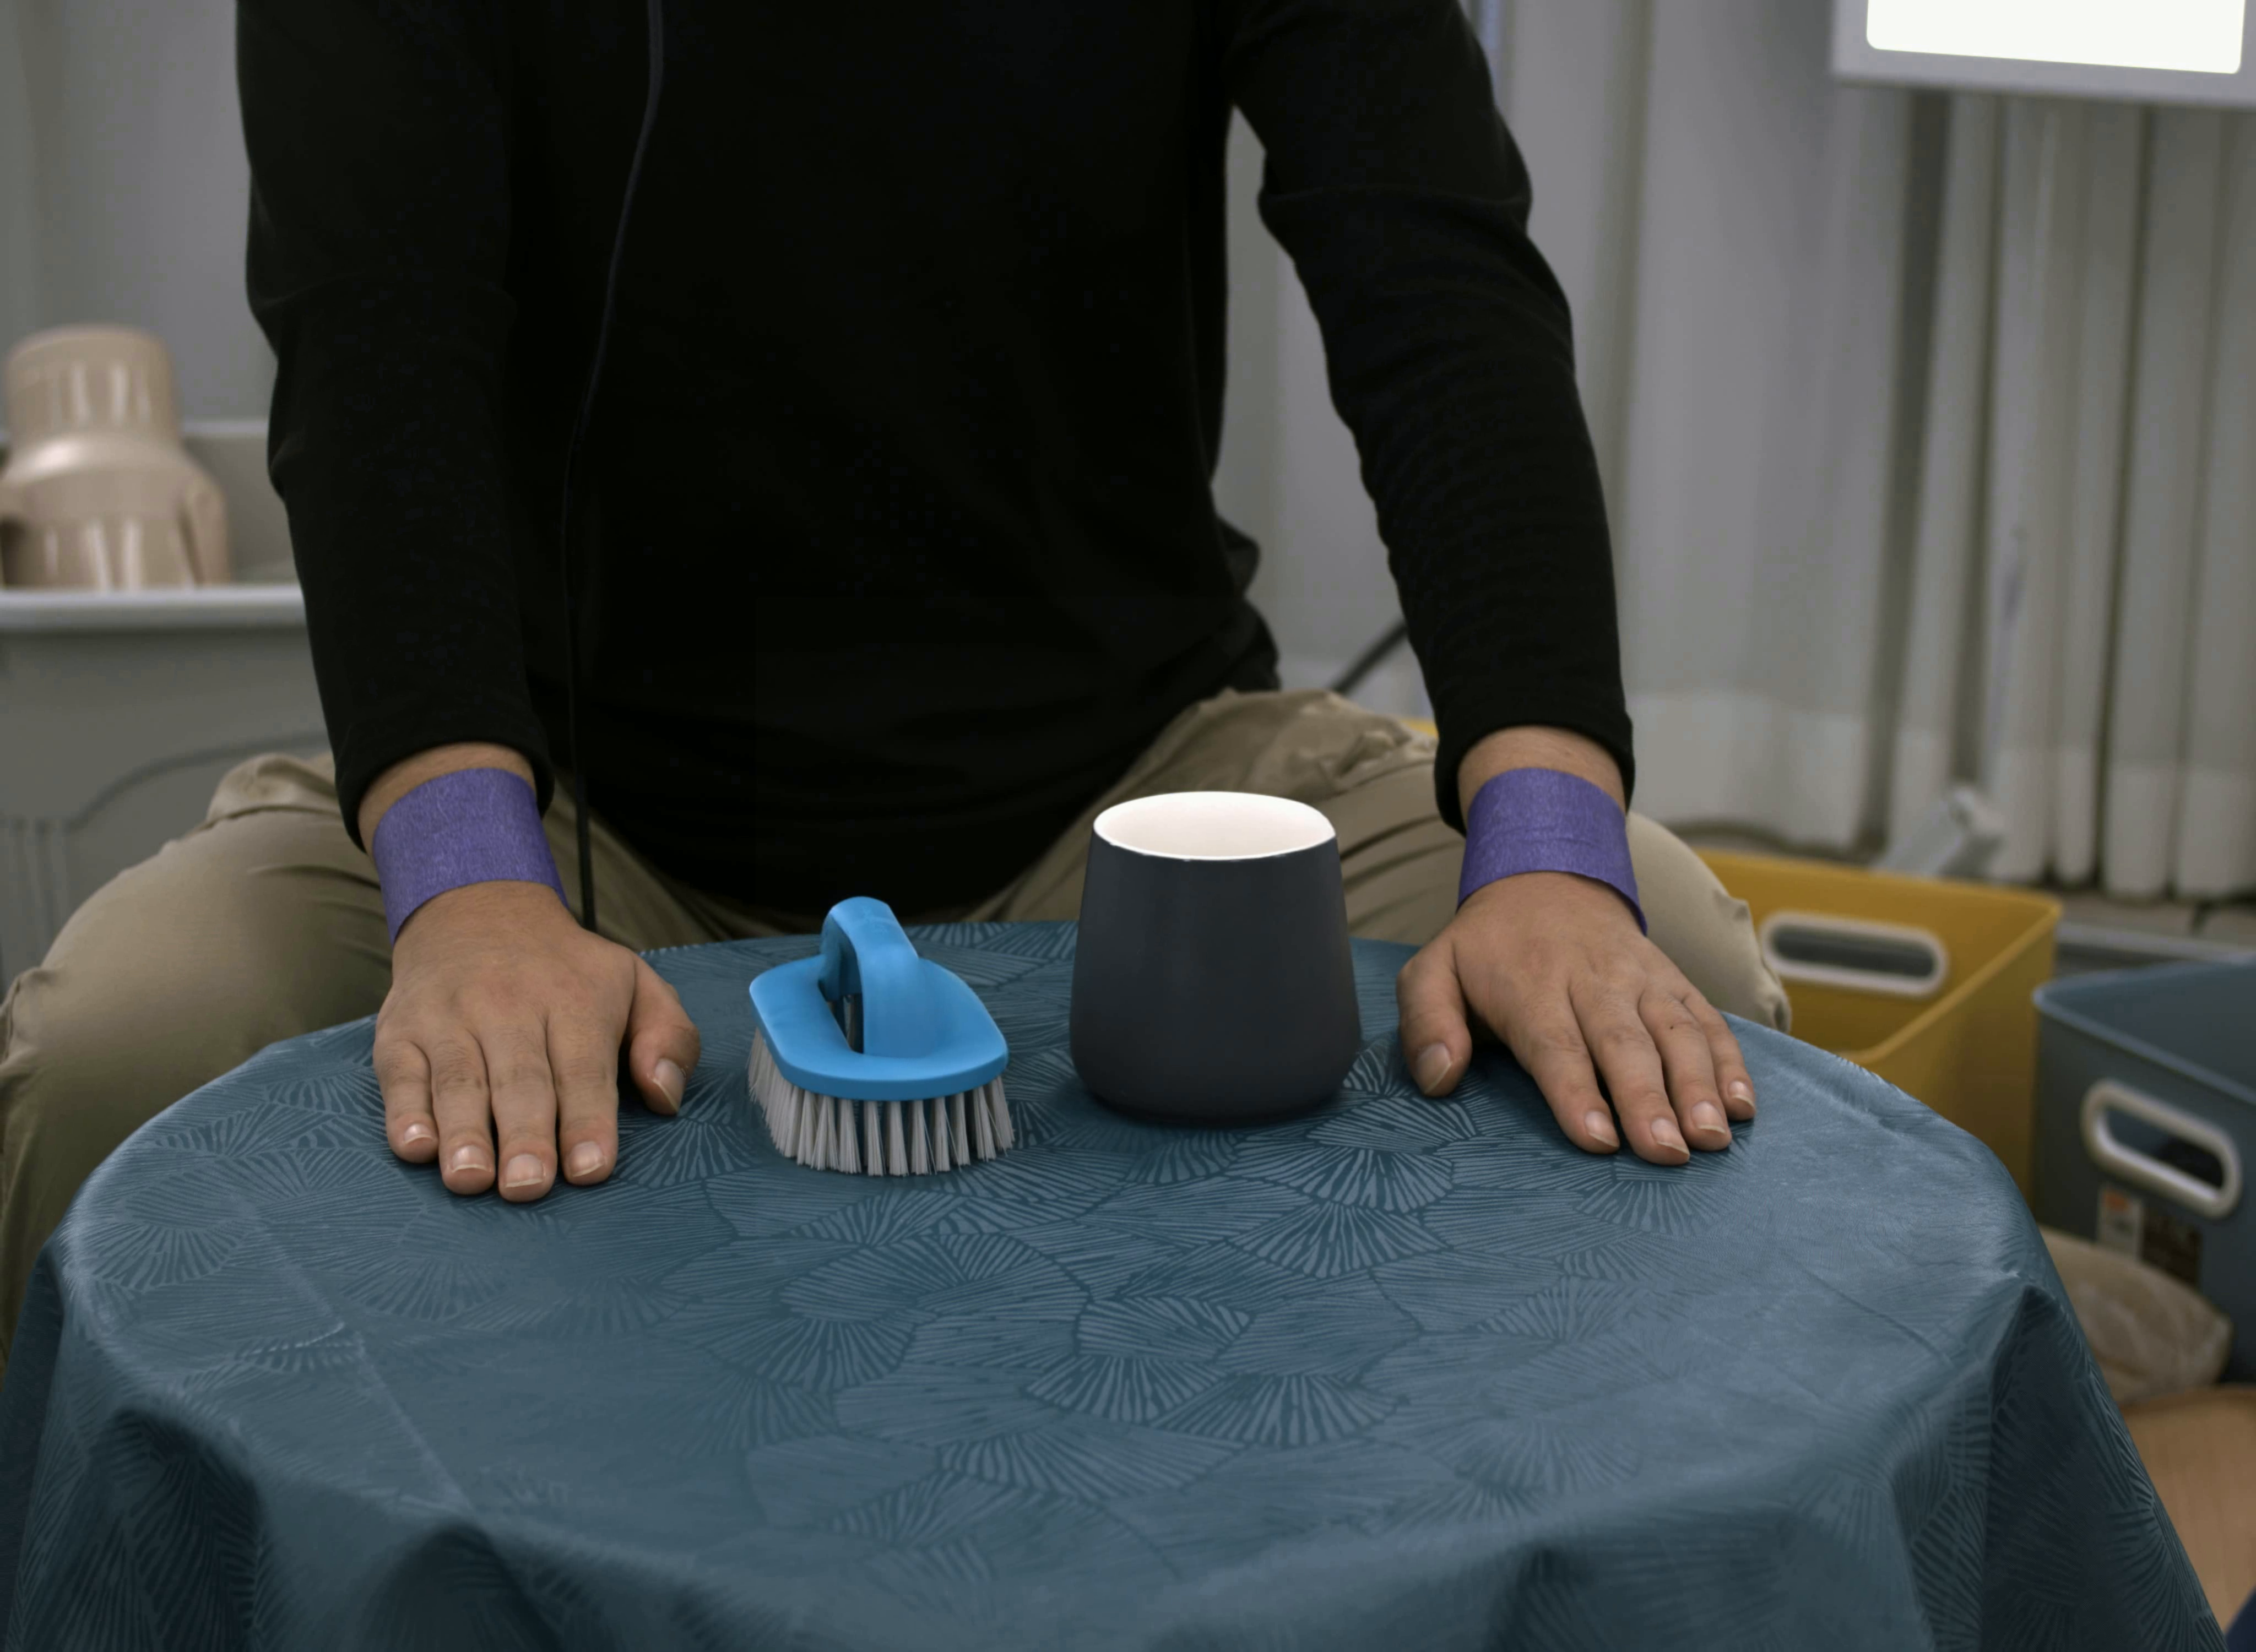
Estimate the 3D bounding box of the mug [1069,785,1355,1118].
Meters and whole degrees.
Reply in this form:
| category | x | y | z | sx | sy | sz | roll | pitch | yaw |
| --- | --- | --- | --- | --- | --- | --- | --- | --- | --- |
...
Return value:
| category | x | y | z | sx | sy | sz | roll | pitch | yaw |
| --- | --- | --- | --- | --- | --- | --- | --- | --- | --- |
| mug | 0.026 | 0.036 | 1.719 | 0.093 | 0.090 | 0.122 | -1 | 18 | -7 |

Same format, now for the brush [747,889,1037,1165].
| category | x | y | z | sx | sy | sz | roll | pitch | yaw |
| --- | --- | --- | --- | --- | --- | --- | --- | --- | --- |
| brush | -0.079 | 0.058 | 1.689 | 0.084 | 0.064 | 0.140 | -7 | 16 | -9 |
